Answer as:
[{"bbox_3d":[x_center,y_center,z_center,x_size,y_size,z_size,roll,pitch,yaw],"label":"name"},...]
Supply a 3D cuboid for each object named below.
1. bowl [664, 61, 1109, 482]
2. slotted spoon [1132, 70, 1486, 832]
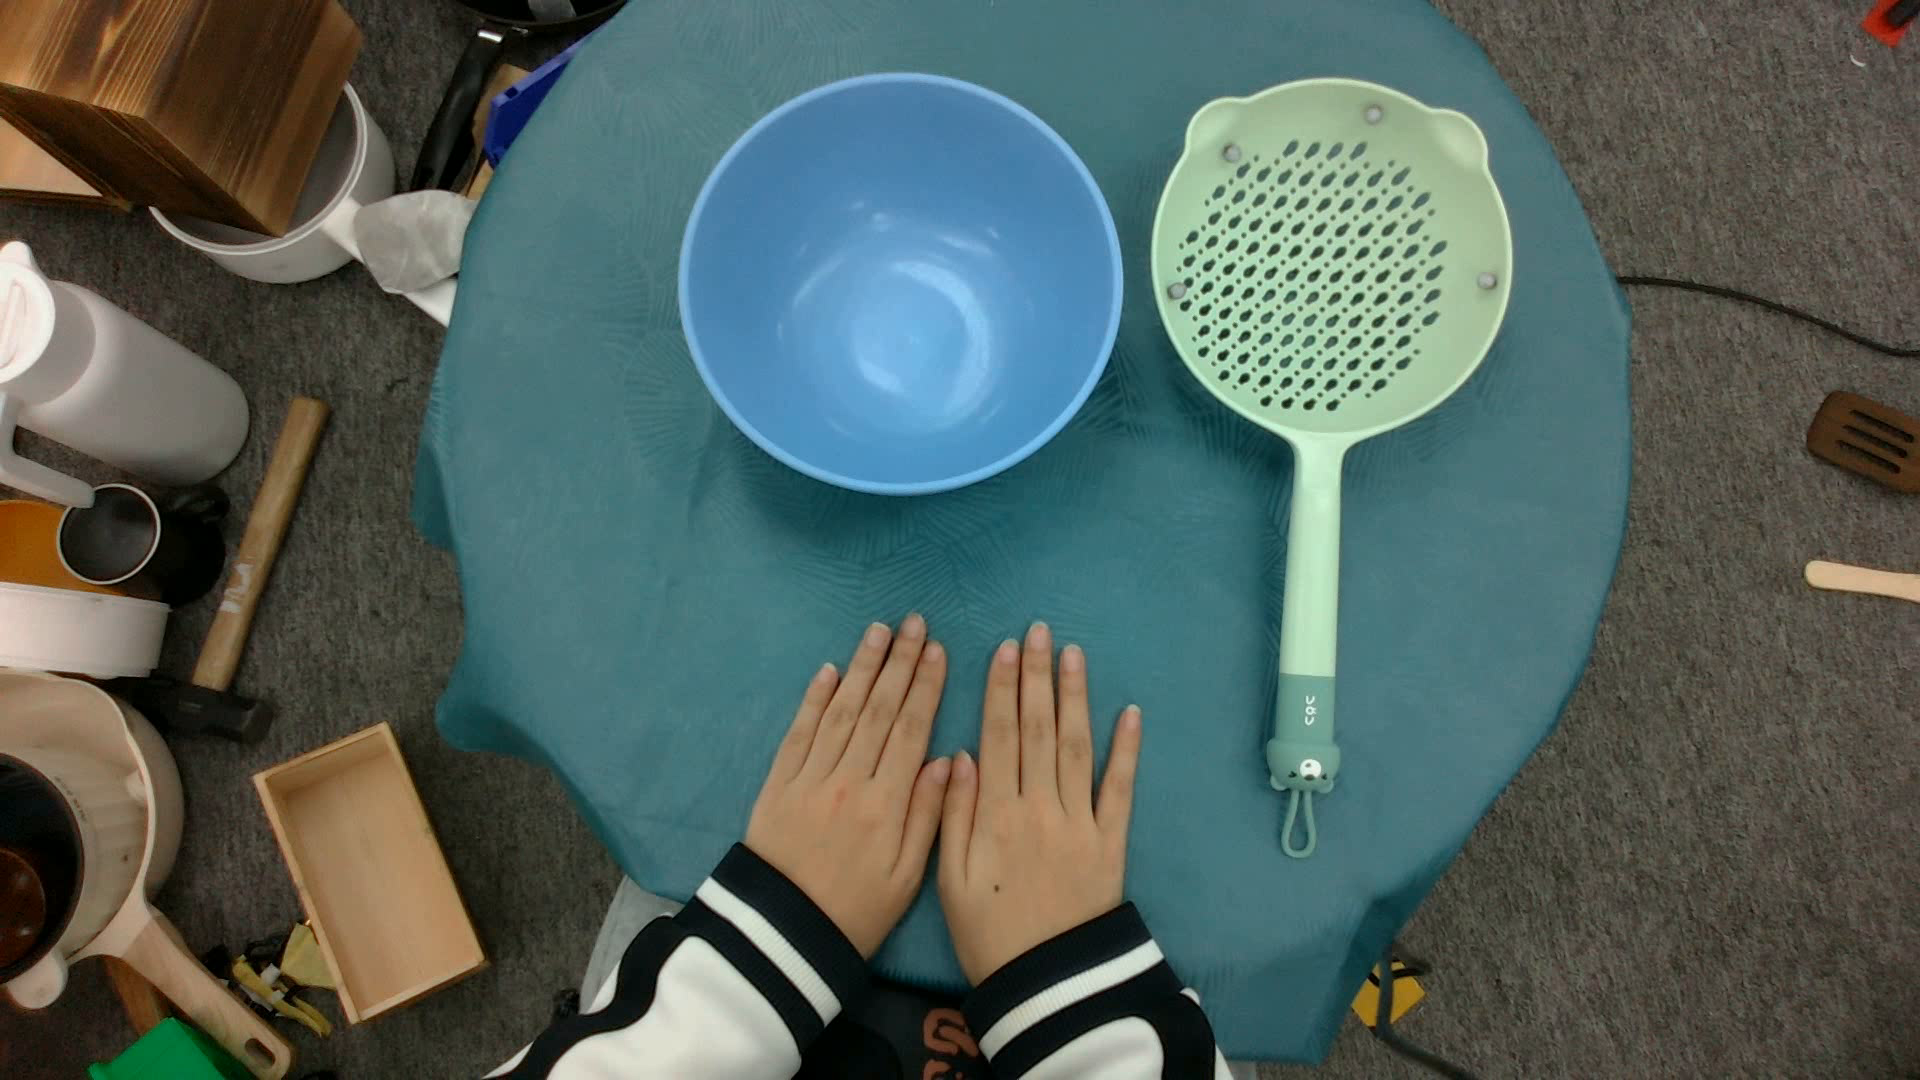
[{"bbox_3d":[-0.033,-0.113,0.652,0.196,0.095,0.197,0,79,-2],"label":"bowl"},{"bbox_3d":[0.160,-0.042,0.660,0.169,0.075,0.359,3,80,0],"label":"slotted spoon"}]
